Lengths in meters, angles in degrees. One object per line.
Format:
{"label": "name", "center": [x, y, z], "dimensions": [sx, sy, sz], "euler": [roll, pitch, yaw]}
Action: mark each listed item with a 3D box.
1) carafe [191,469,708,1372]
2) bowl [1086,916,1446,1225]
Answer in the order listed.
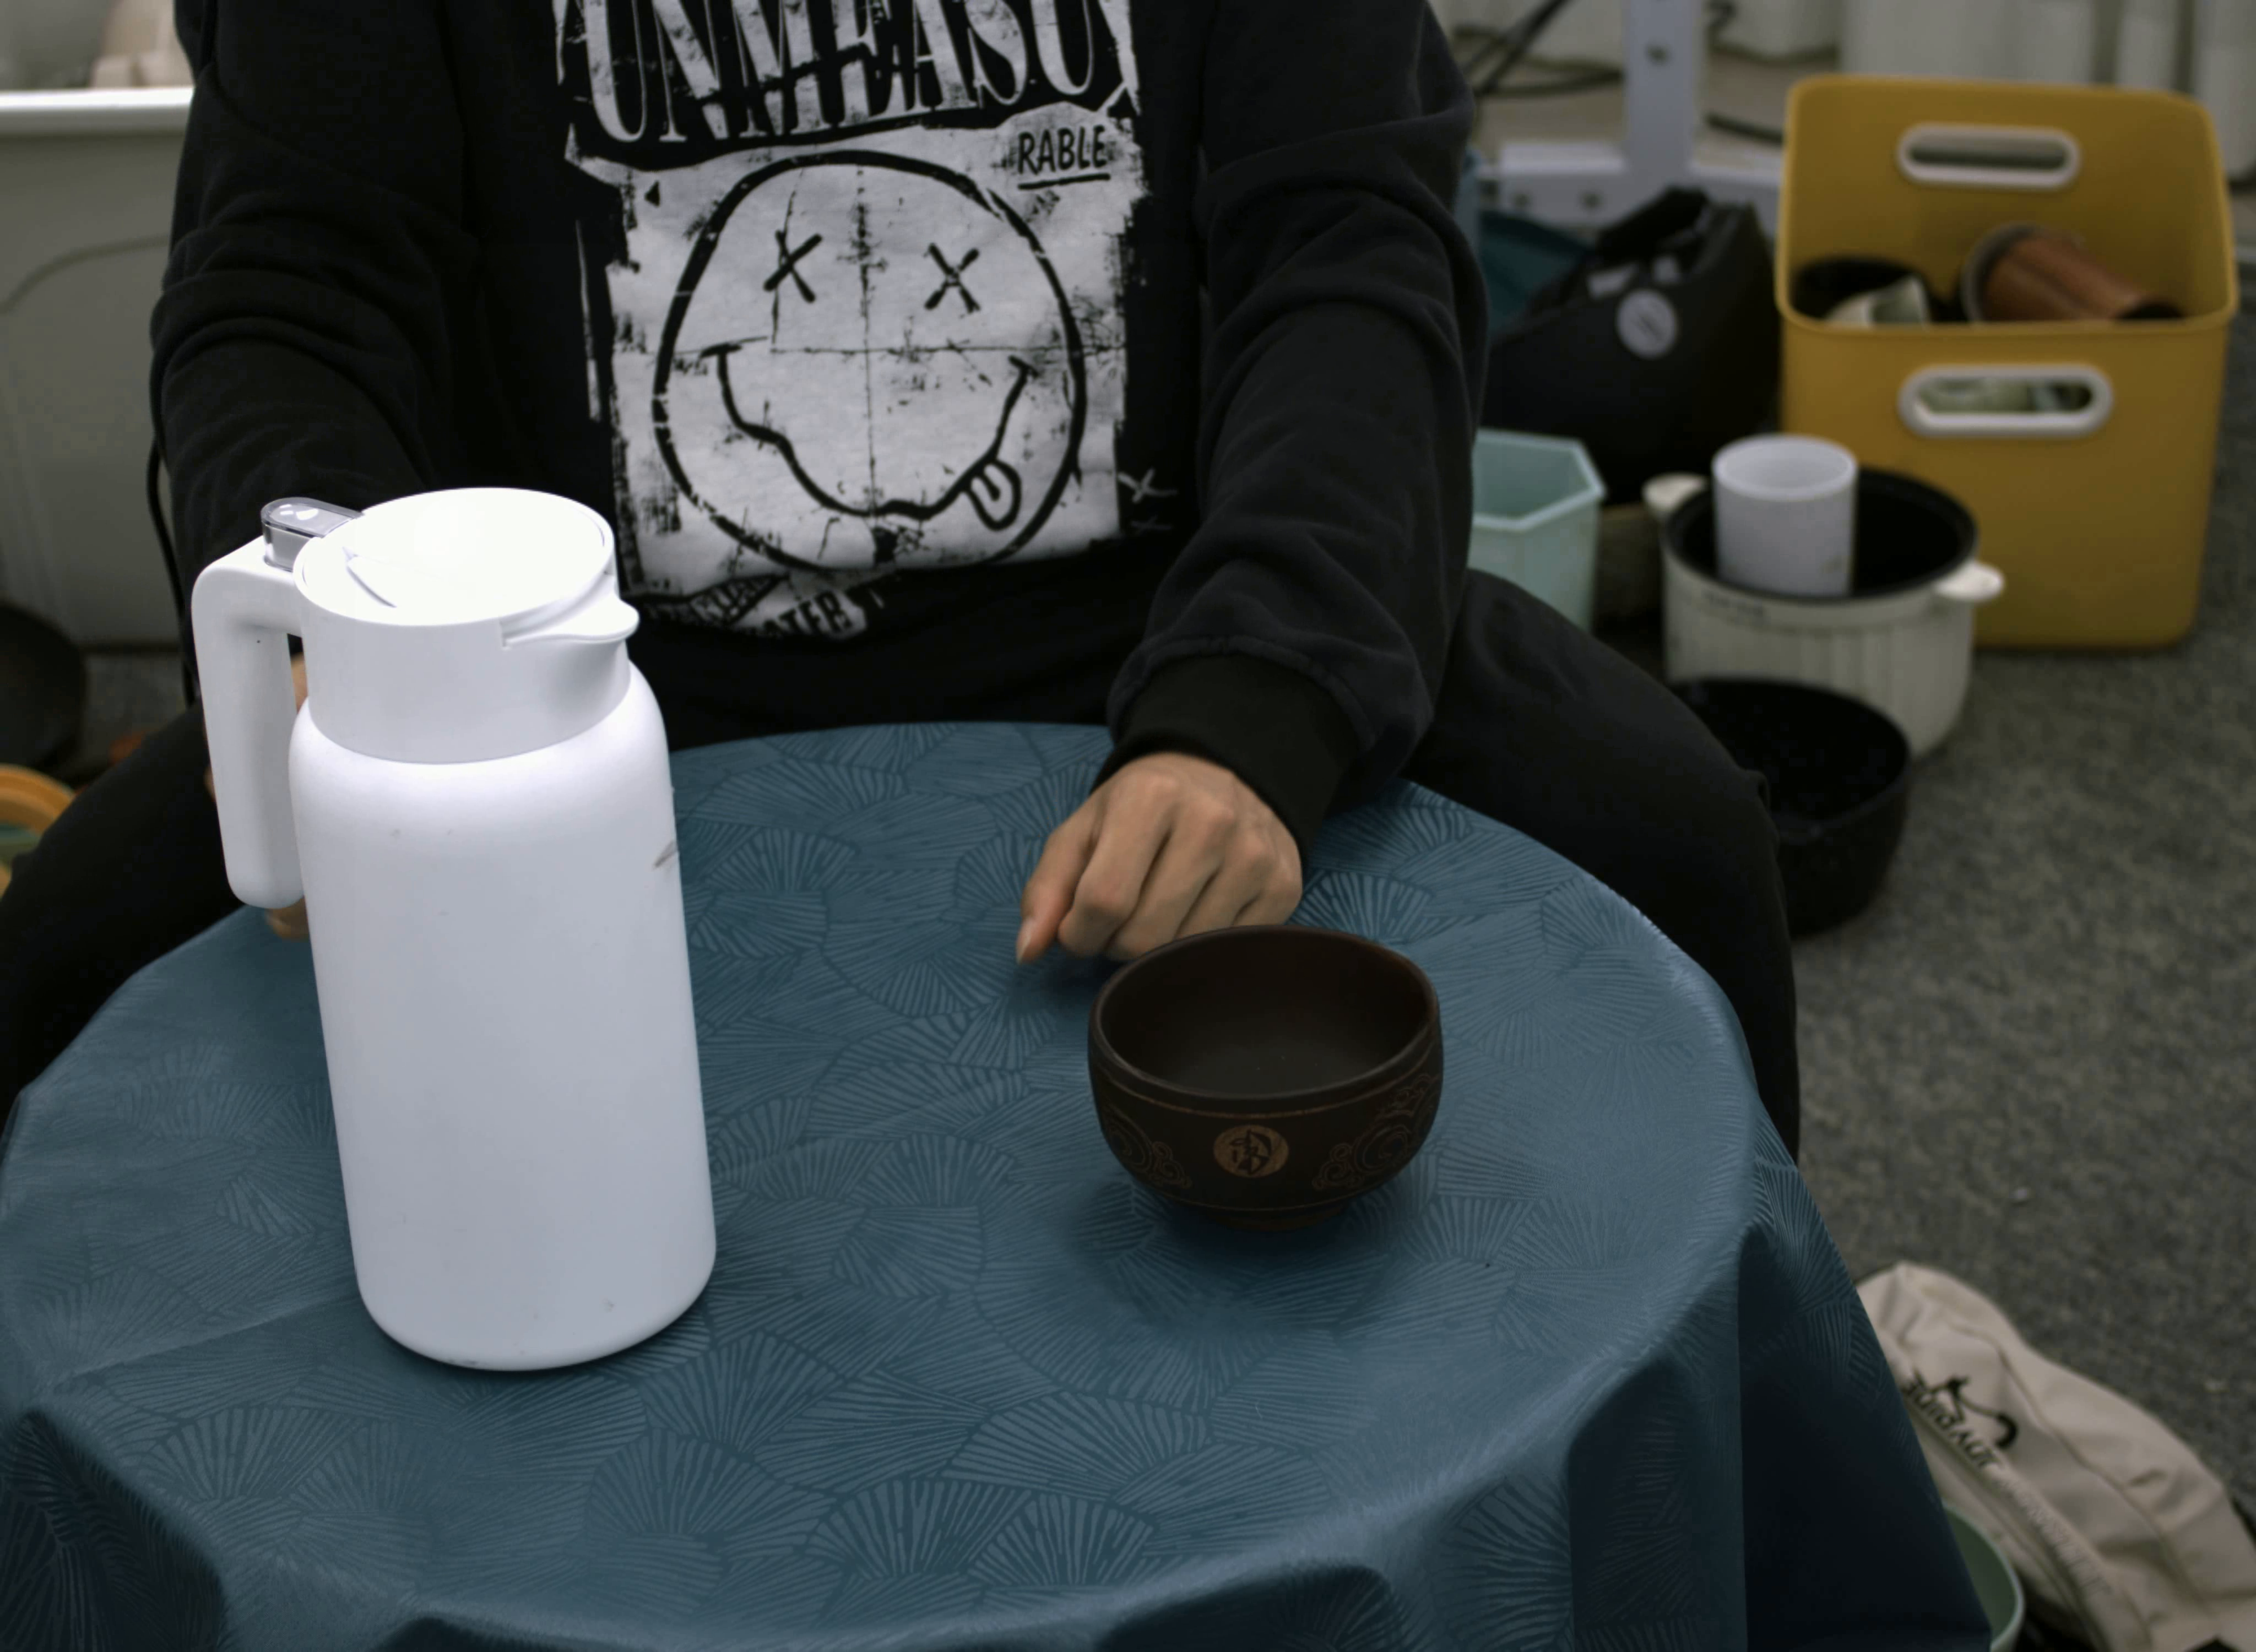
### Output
{"label": "carafe", "center": [-0.214, 0.029, 1.772], "dimensions": [0.172, 0.266, 0.126], "euler": [14, 32, 30]}
{"label": "bowl", "center": [0.046, 0.087, 1.841], "dimensions": [0.117, 0.069, 0.120], "euler": [-3, 26, 2]}
